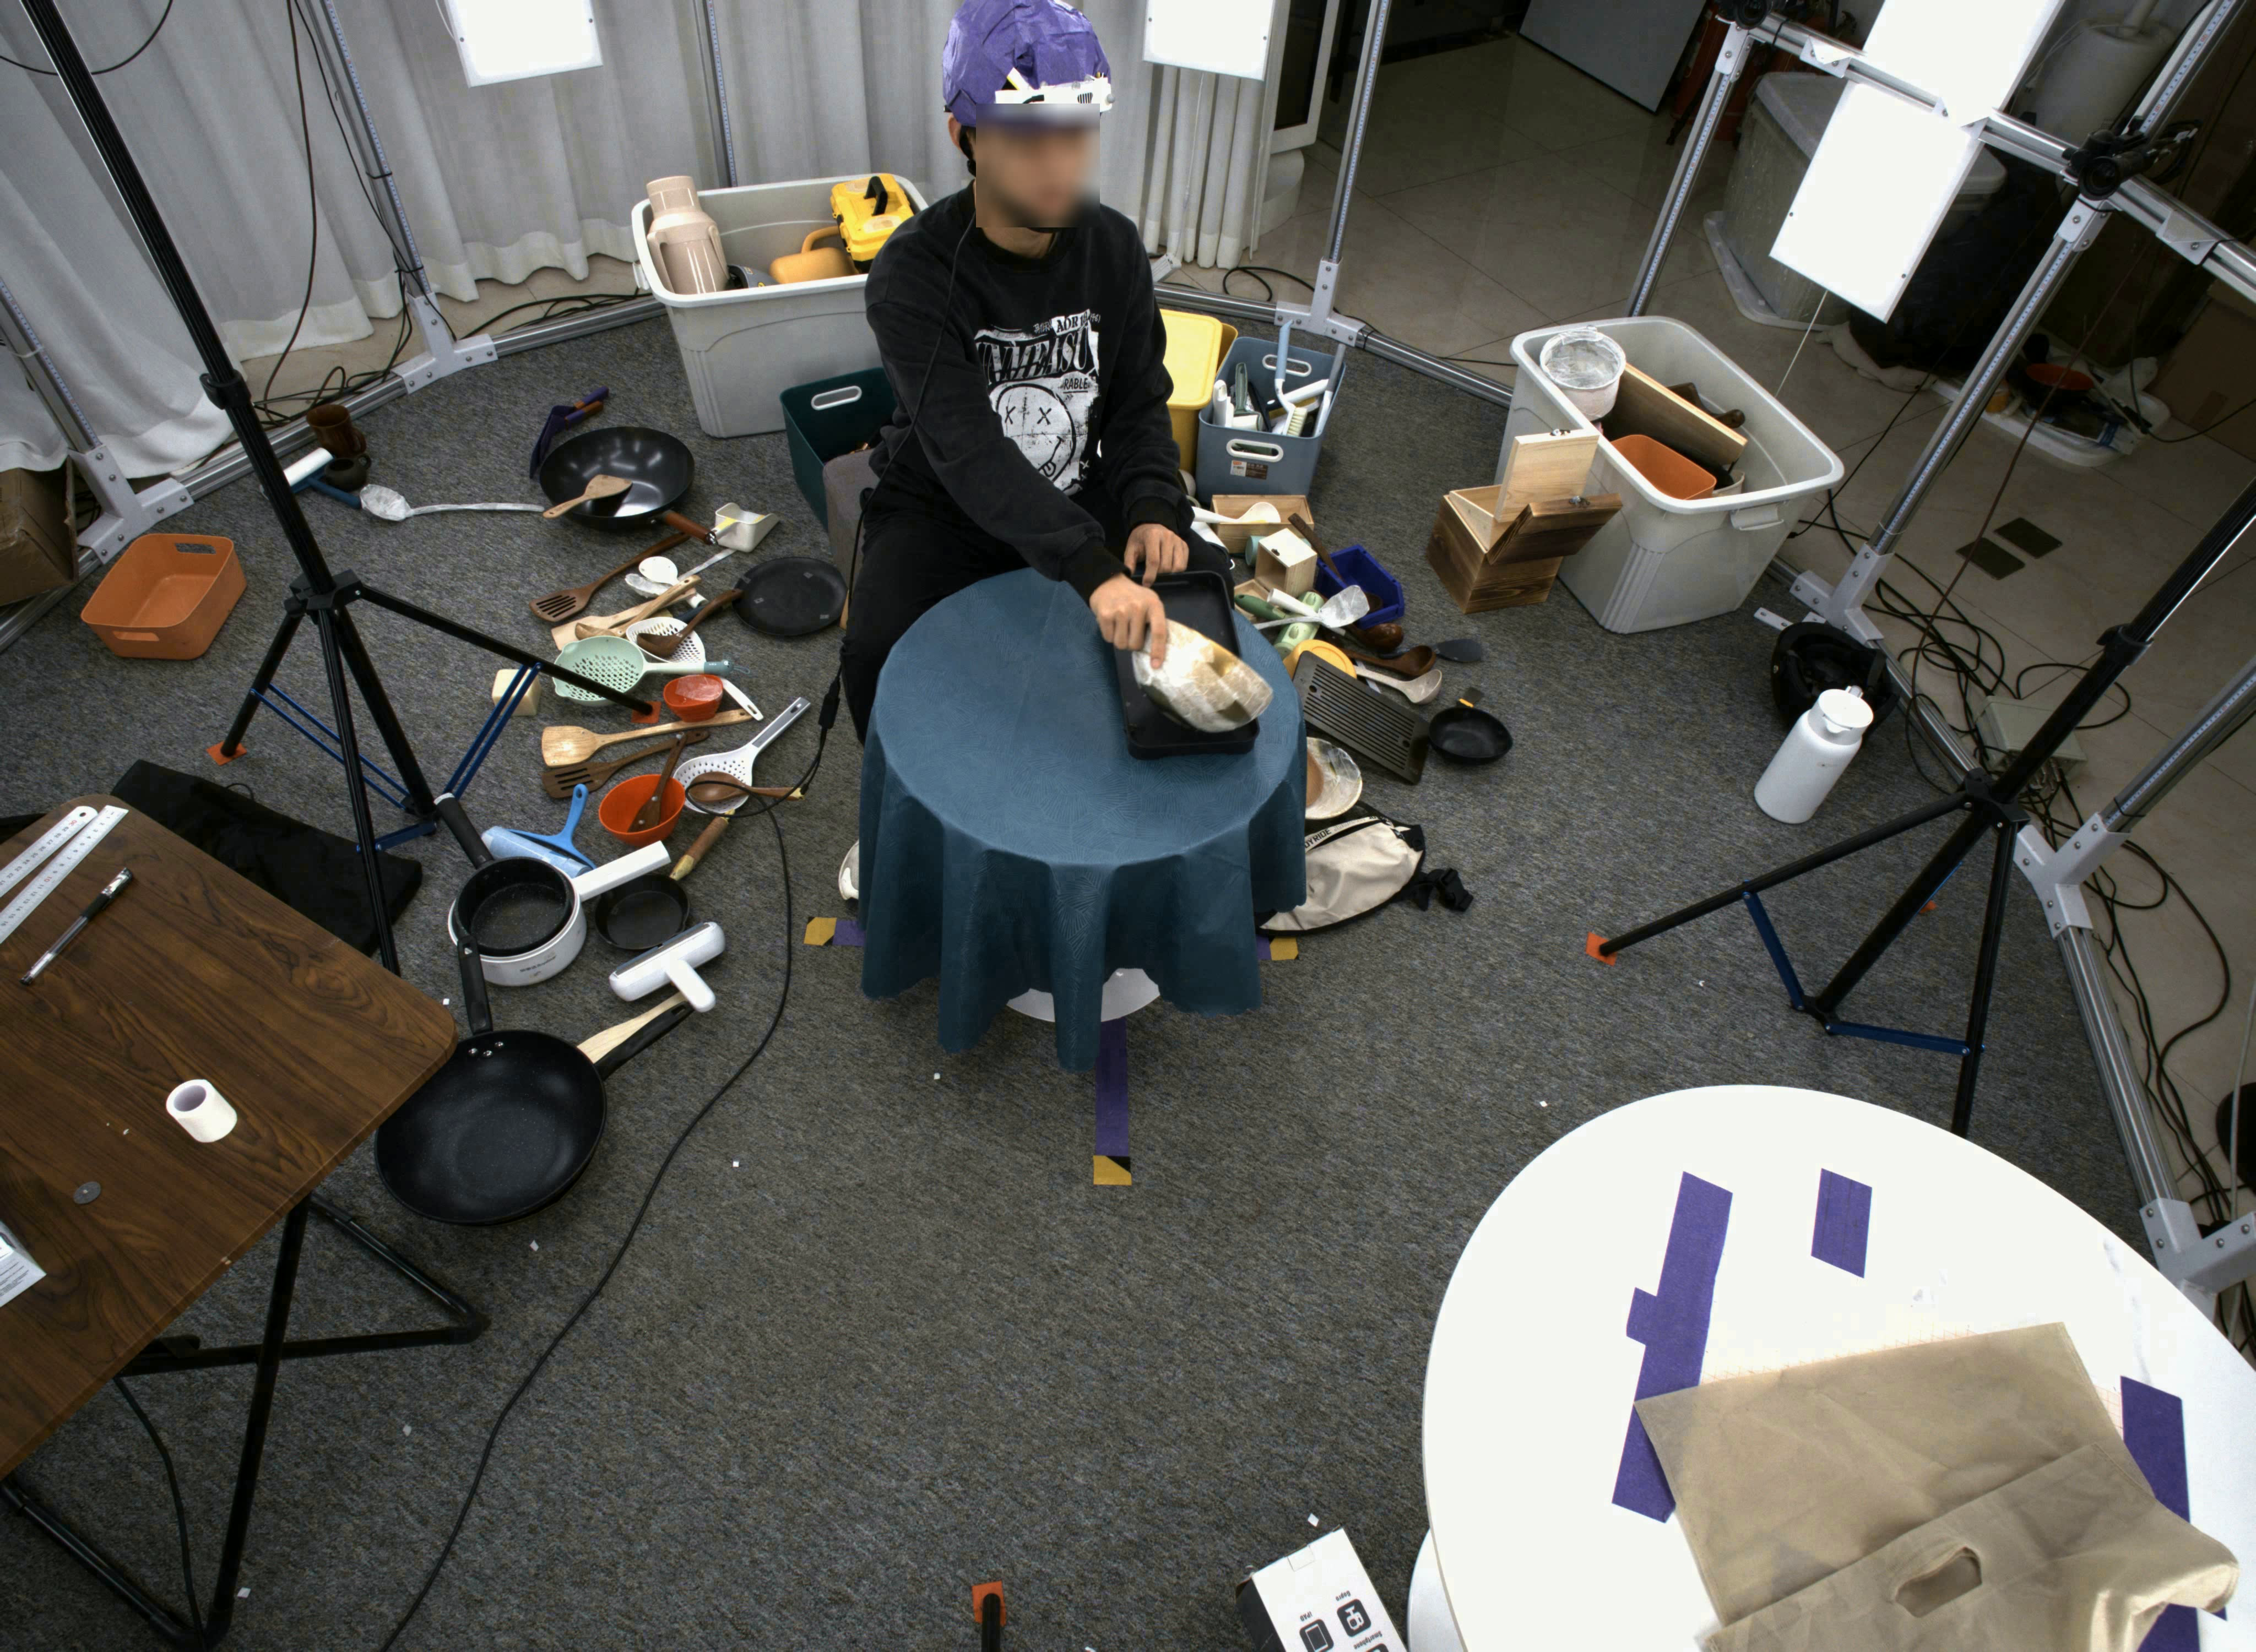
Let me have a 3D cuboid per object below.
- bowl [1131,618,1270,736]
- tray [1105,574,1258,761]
[{"bbox_3d":[0.077,-0.184,1.712,0.217,0.211,0.095,32,86,21],"label":"bowl"},{"bbox_3d":[0.072,-0.233,1.847,0.184,0.036,0.326,-4,55,-5],"label":"tray"}]
